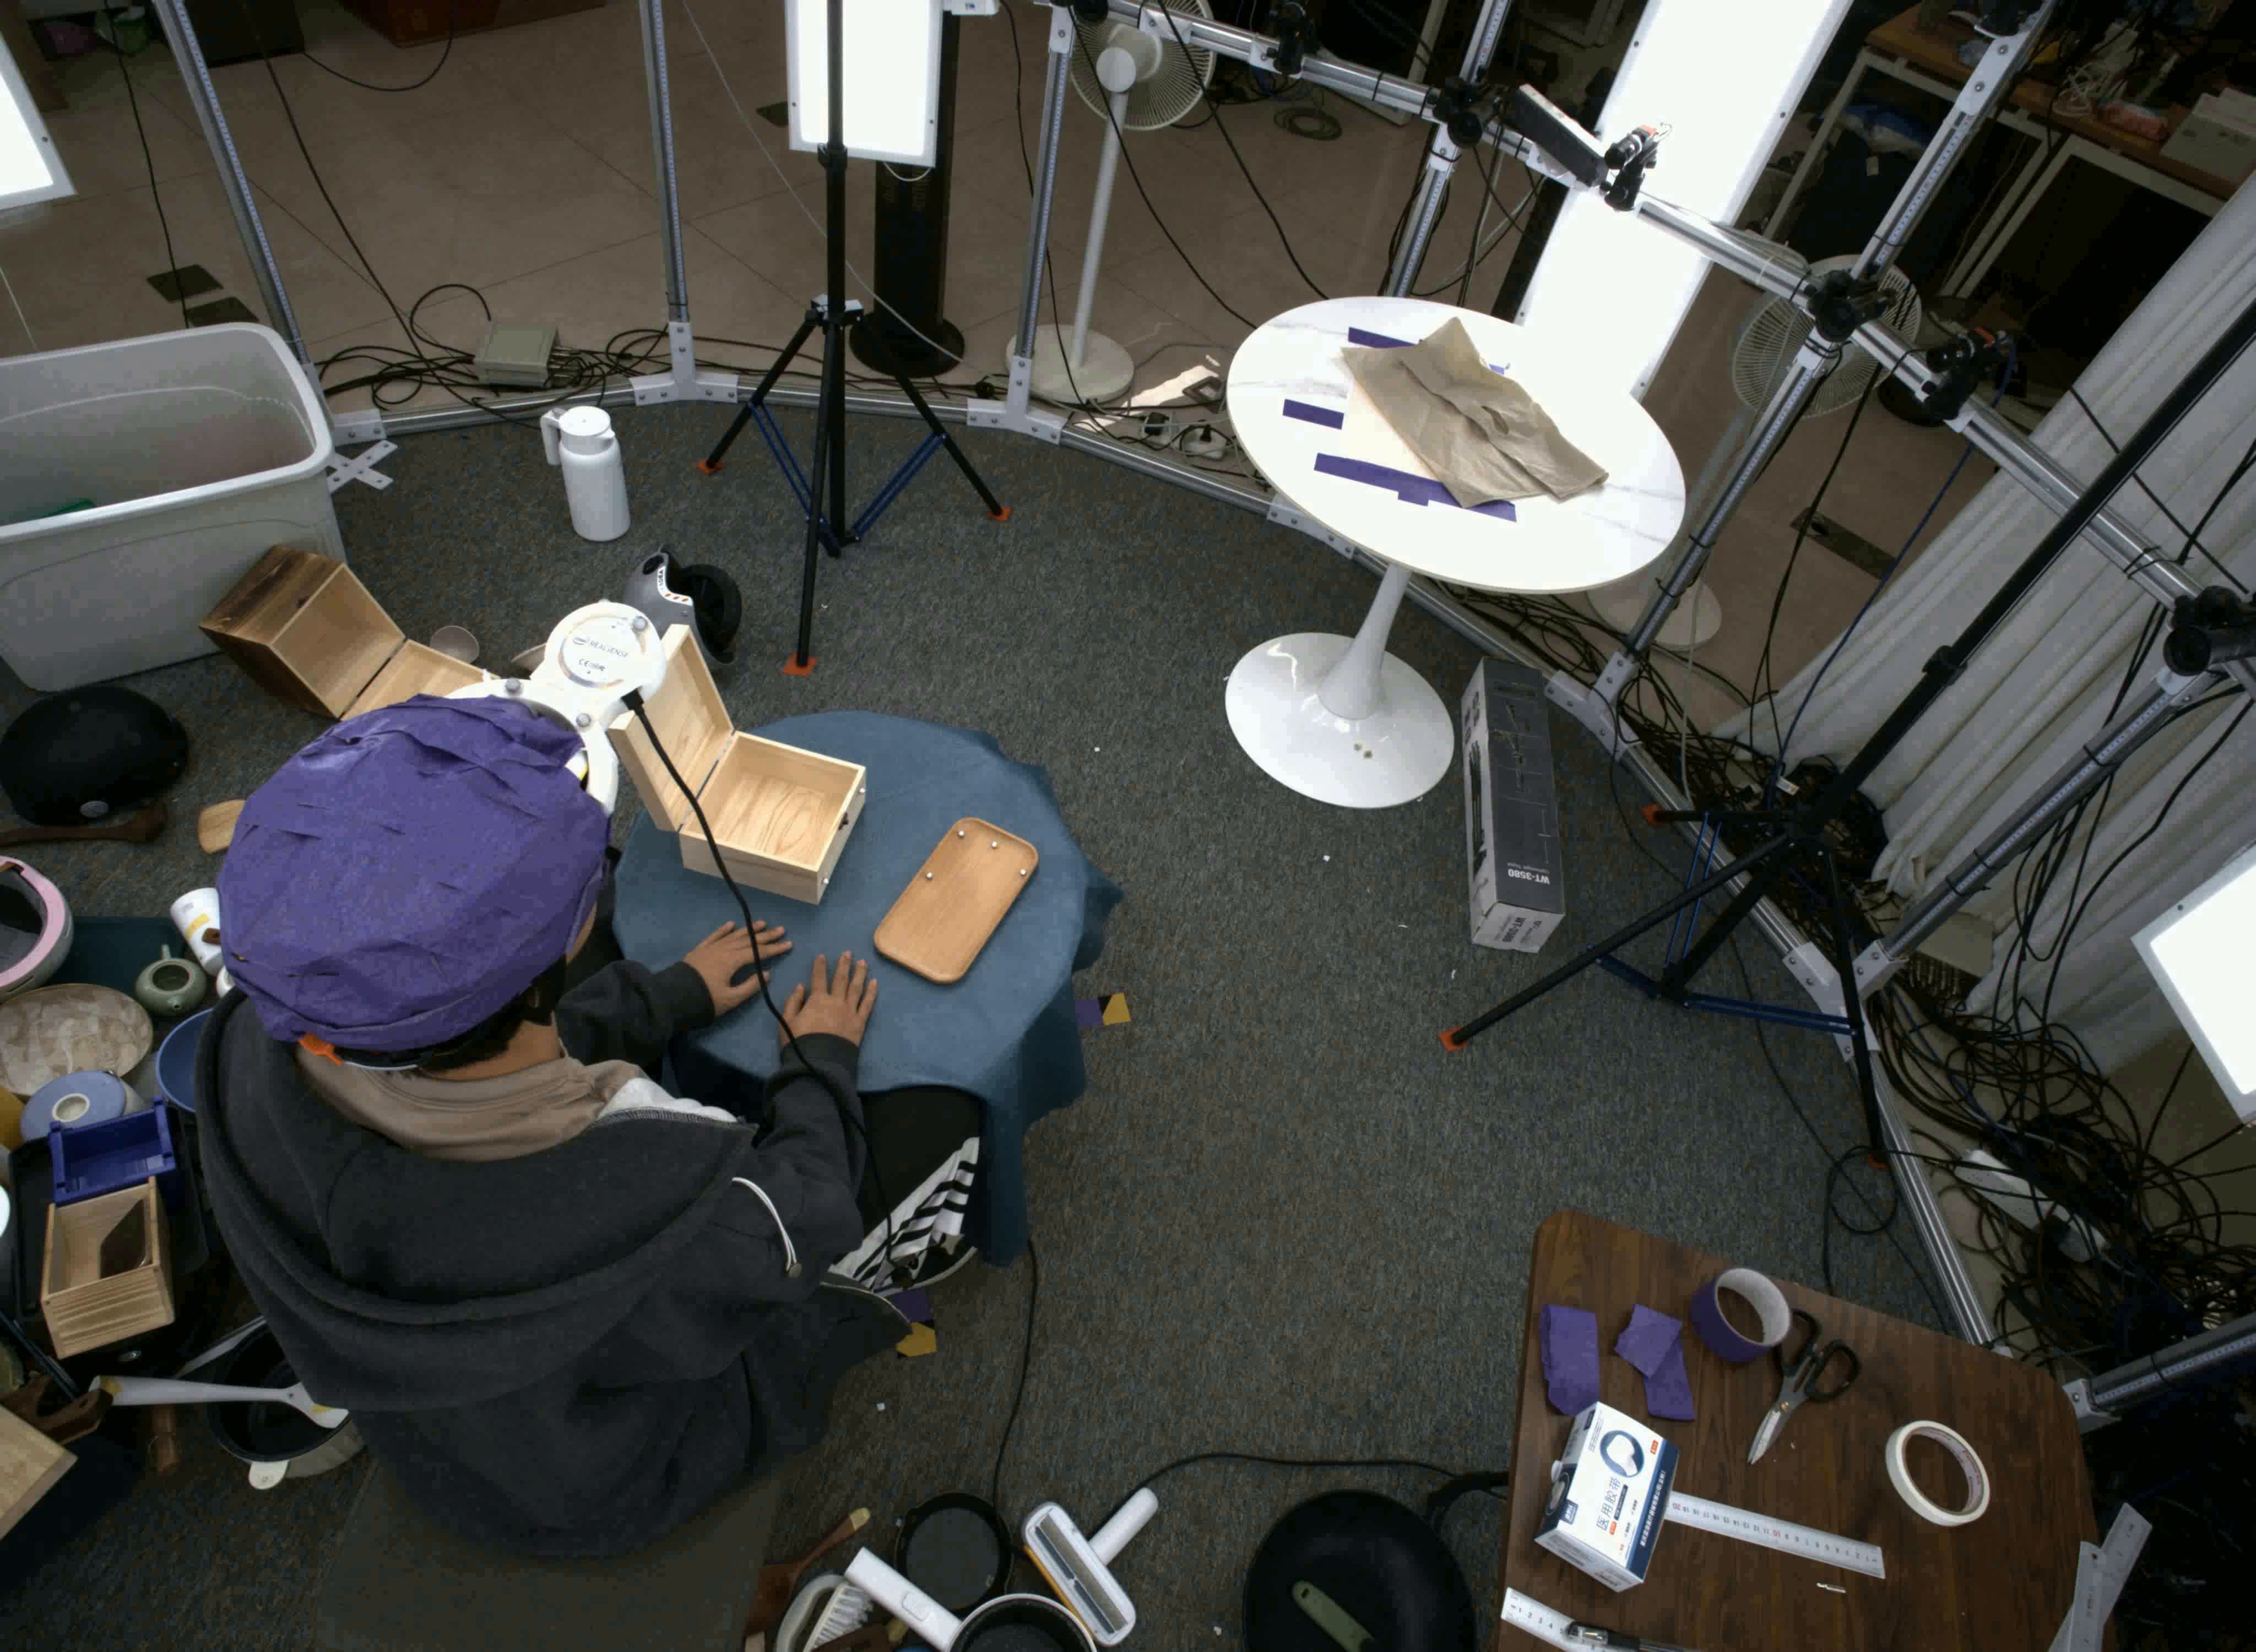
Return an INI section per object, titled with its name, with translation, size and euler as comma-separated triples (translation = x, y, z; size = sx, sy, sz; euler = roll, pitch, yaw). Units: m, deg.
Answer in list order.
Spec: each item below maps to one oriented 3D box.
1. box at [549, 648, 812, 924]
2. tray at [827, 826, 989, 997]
[box]
translation = -0.542, -0.048, 1.577
size = 0.263, 0.258, 0.179
euler = 11, 54, -3
[tray]
translation = -0.280, 0.106, 1.676
size = 0.128, 0.023, 0.249
euler = 22, 52, 6
